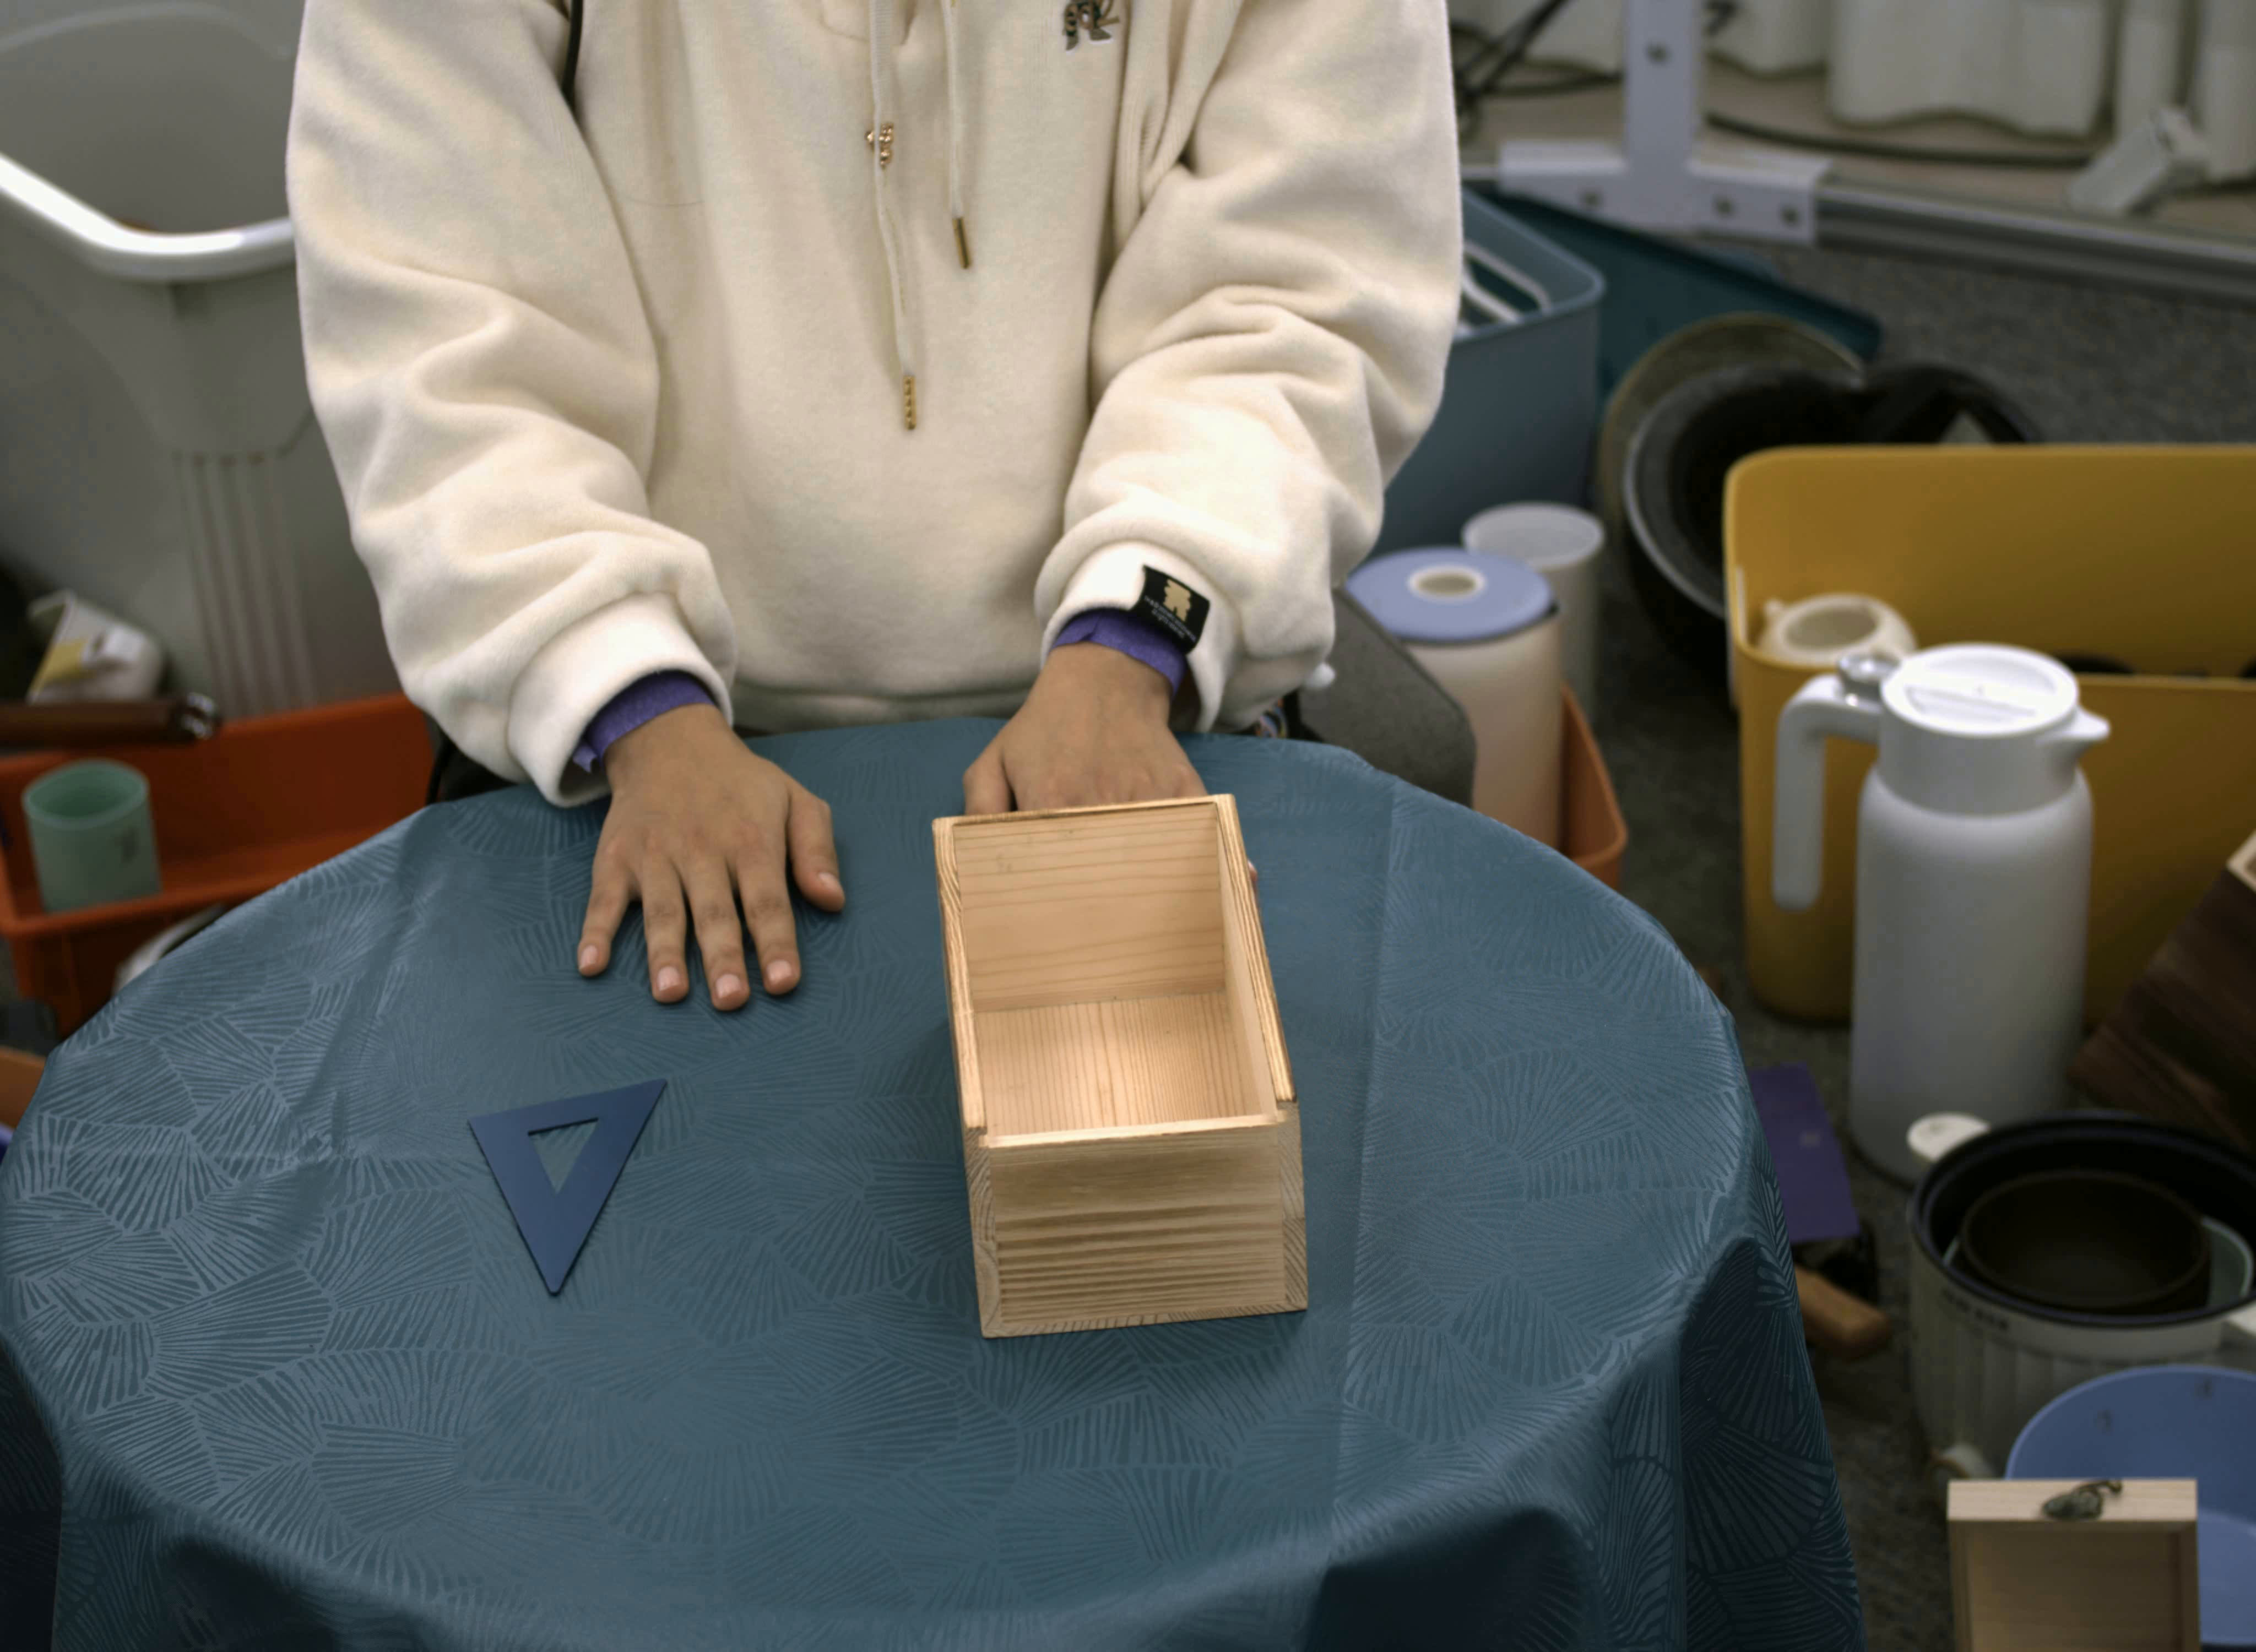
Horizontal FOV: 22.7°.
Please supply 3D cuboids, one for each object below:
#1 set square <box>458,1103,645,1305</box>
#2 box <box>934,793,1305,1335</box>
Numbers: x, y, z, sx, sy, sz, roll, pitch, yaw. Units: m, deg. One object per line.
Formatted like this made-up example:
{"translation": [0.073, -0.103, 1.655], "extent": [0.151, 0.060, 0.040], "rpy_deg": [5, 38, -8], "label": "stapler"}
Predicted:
{"translation": [-0.209, 0.122, 1.876], "extent": [0.061, 0.006, 0.134], "rpy_deg": [6, 28, 14], "label": "set square"}
{"translation": [-0.005, 0.075, 1.865], "extent": [0.107, 0.079, 0.214], "rpy_deg": [-4, 28, -4], "label": "box"}
